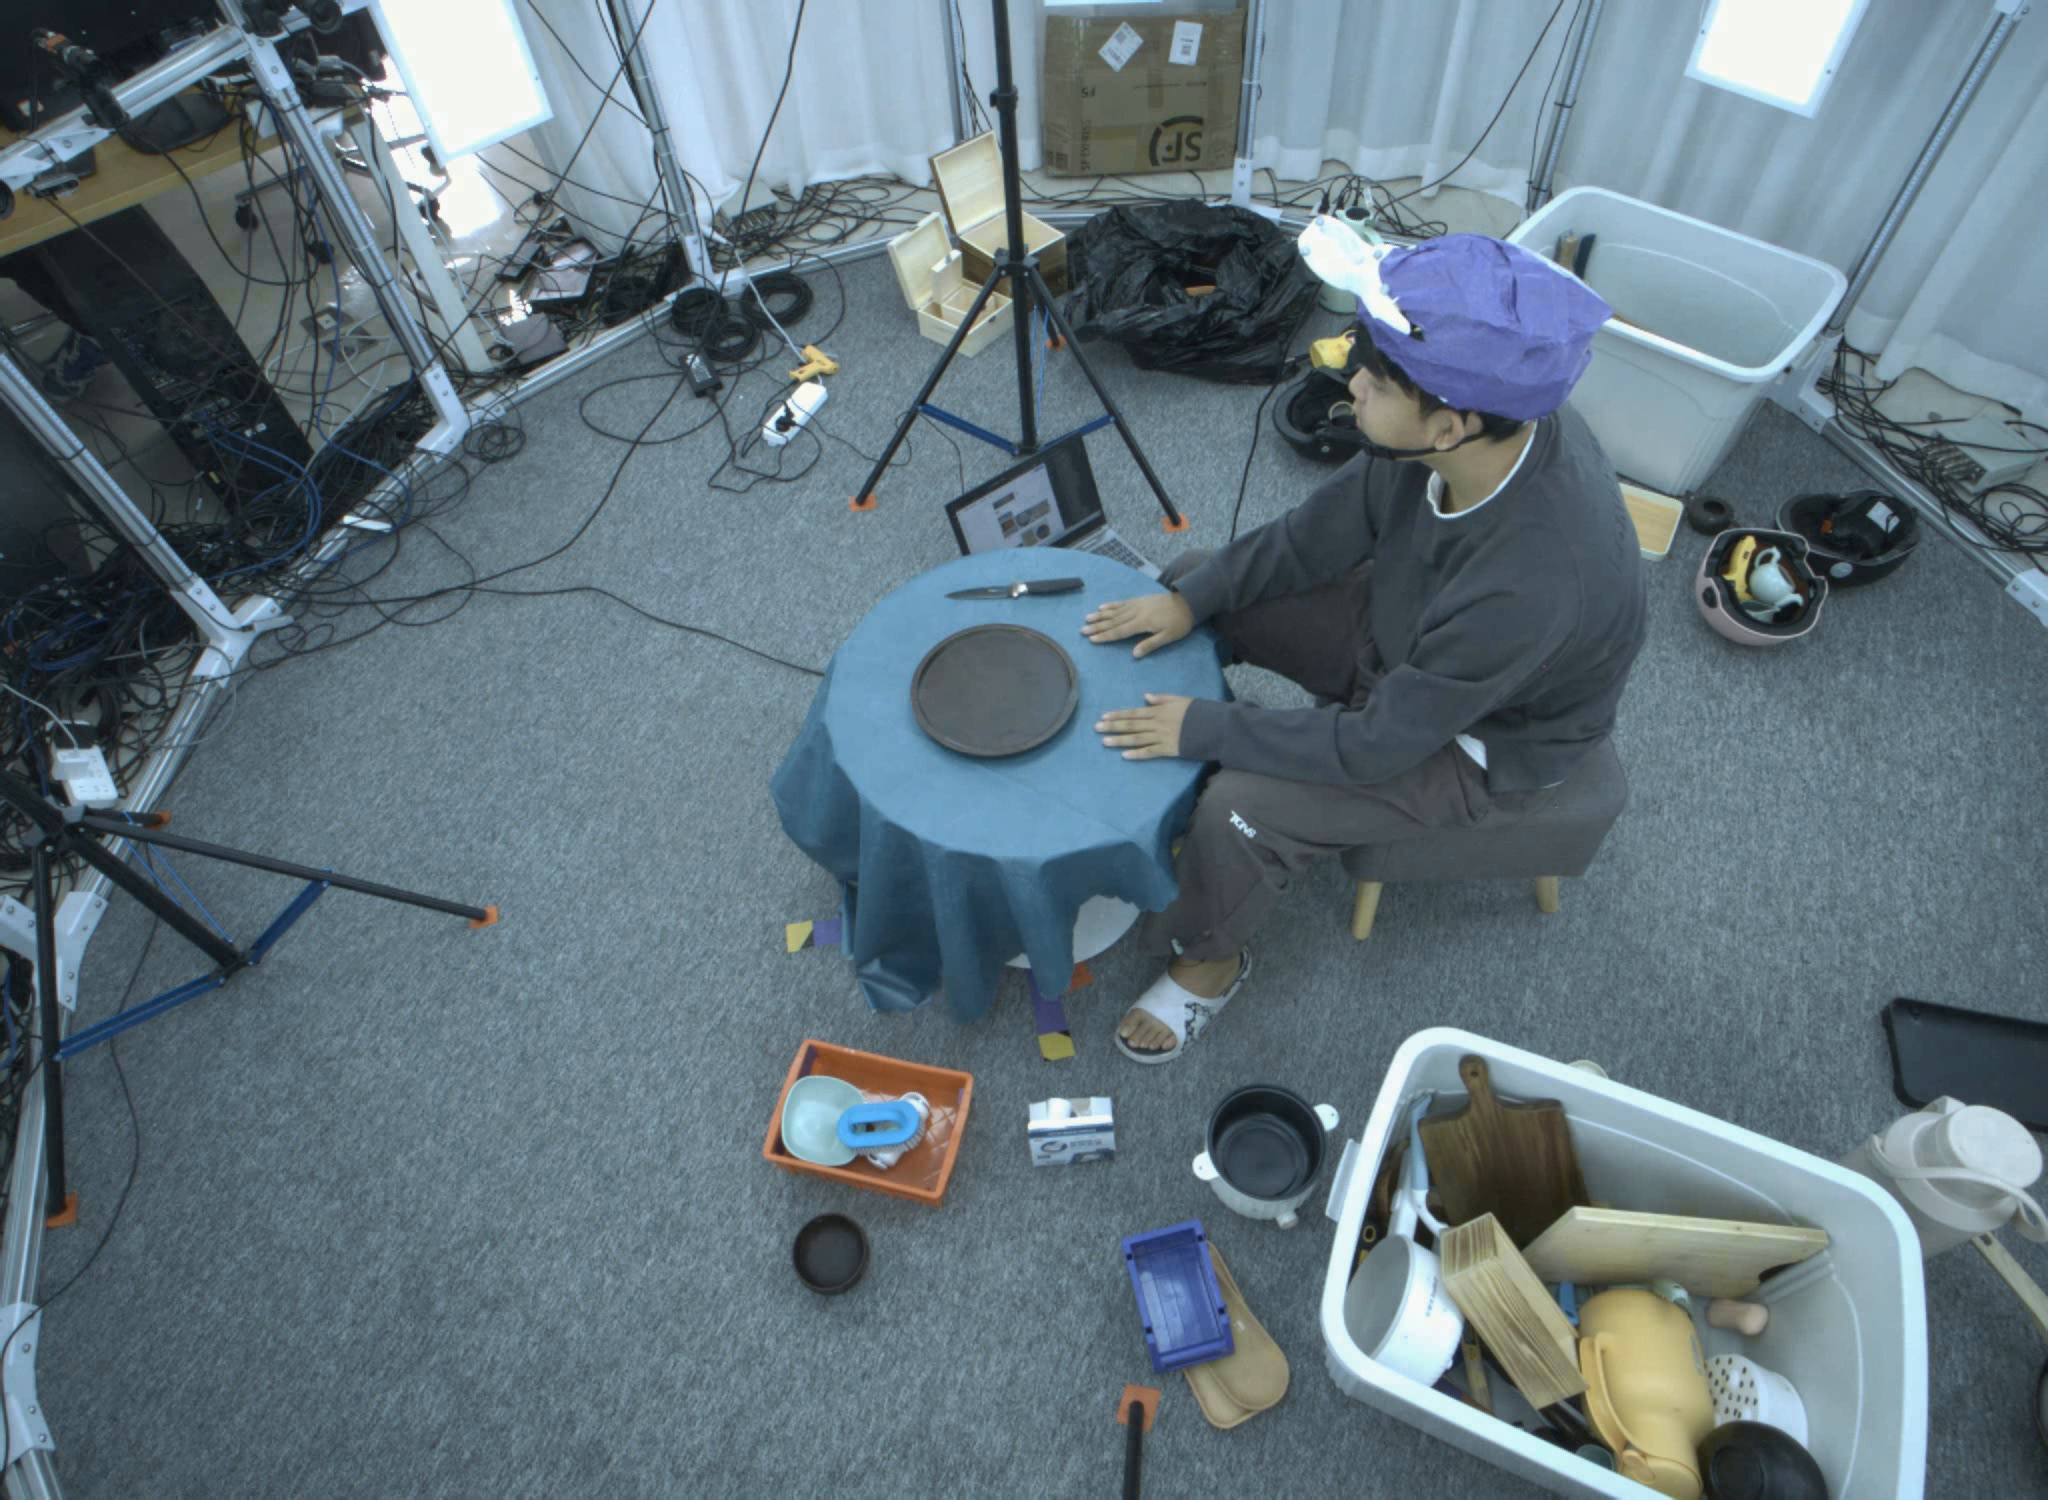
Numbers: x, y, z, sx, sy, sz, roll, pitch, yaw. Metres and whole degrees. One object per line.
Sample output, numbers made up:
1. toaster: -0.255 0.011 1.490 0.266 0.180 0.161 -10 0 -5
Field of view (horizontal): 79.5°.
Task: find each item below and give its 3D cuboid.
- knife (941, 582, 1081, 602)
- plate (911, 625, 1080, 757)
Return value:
1. knife: -0.022 -0.253 1.960 0.225 0.017 0.026 -4 60 0
2. plate: -0.043 -0.090 1.838 0.255 0.029 0.252 0 53 1
